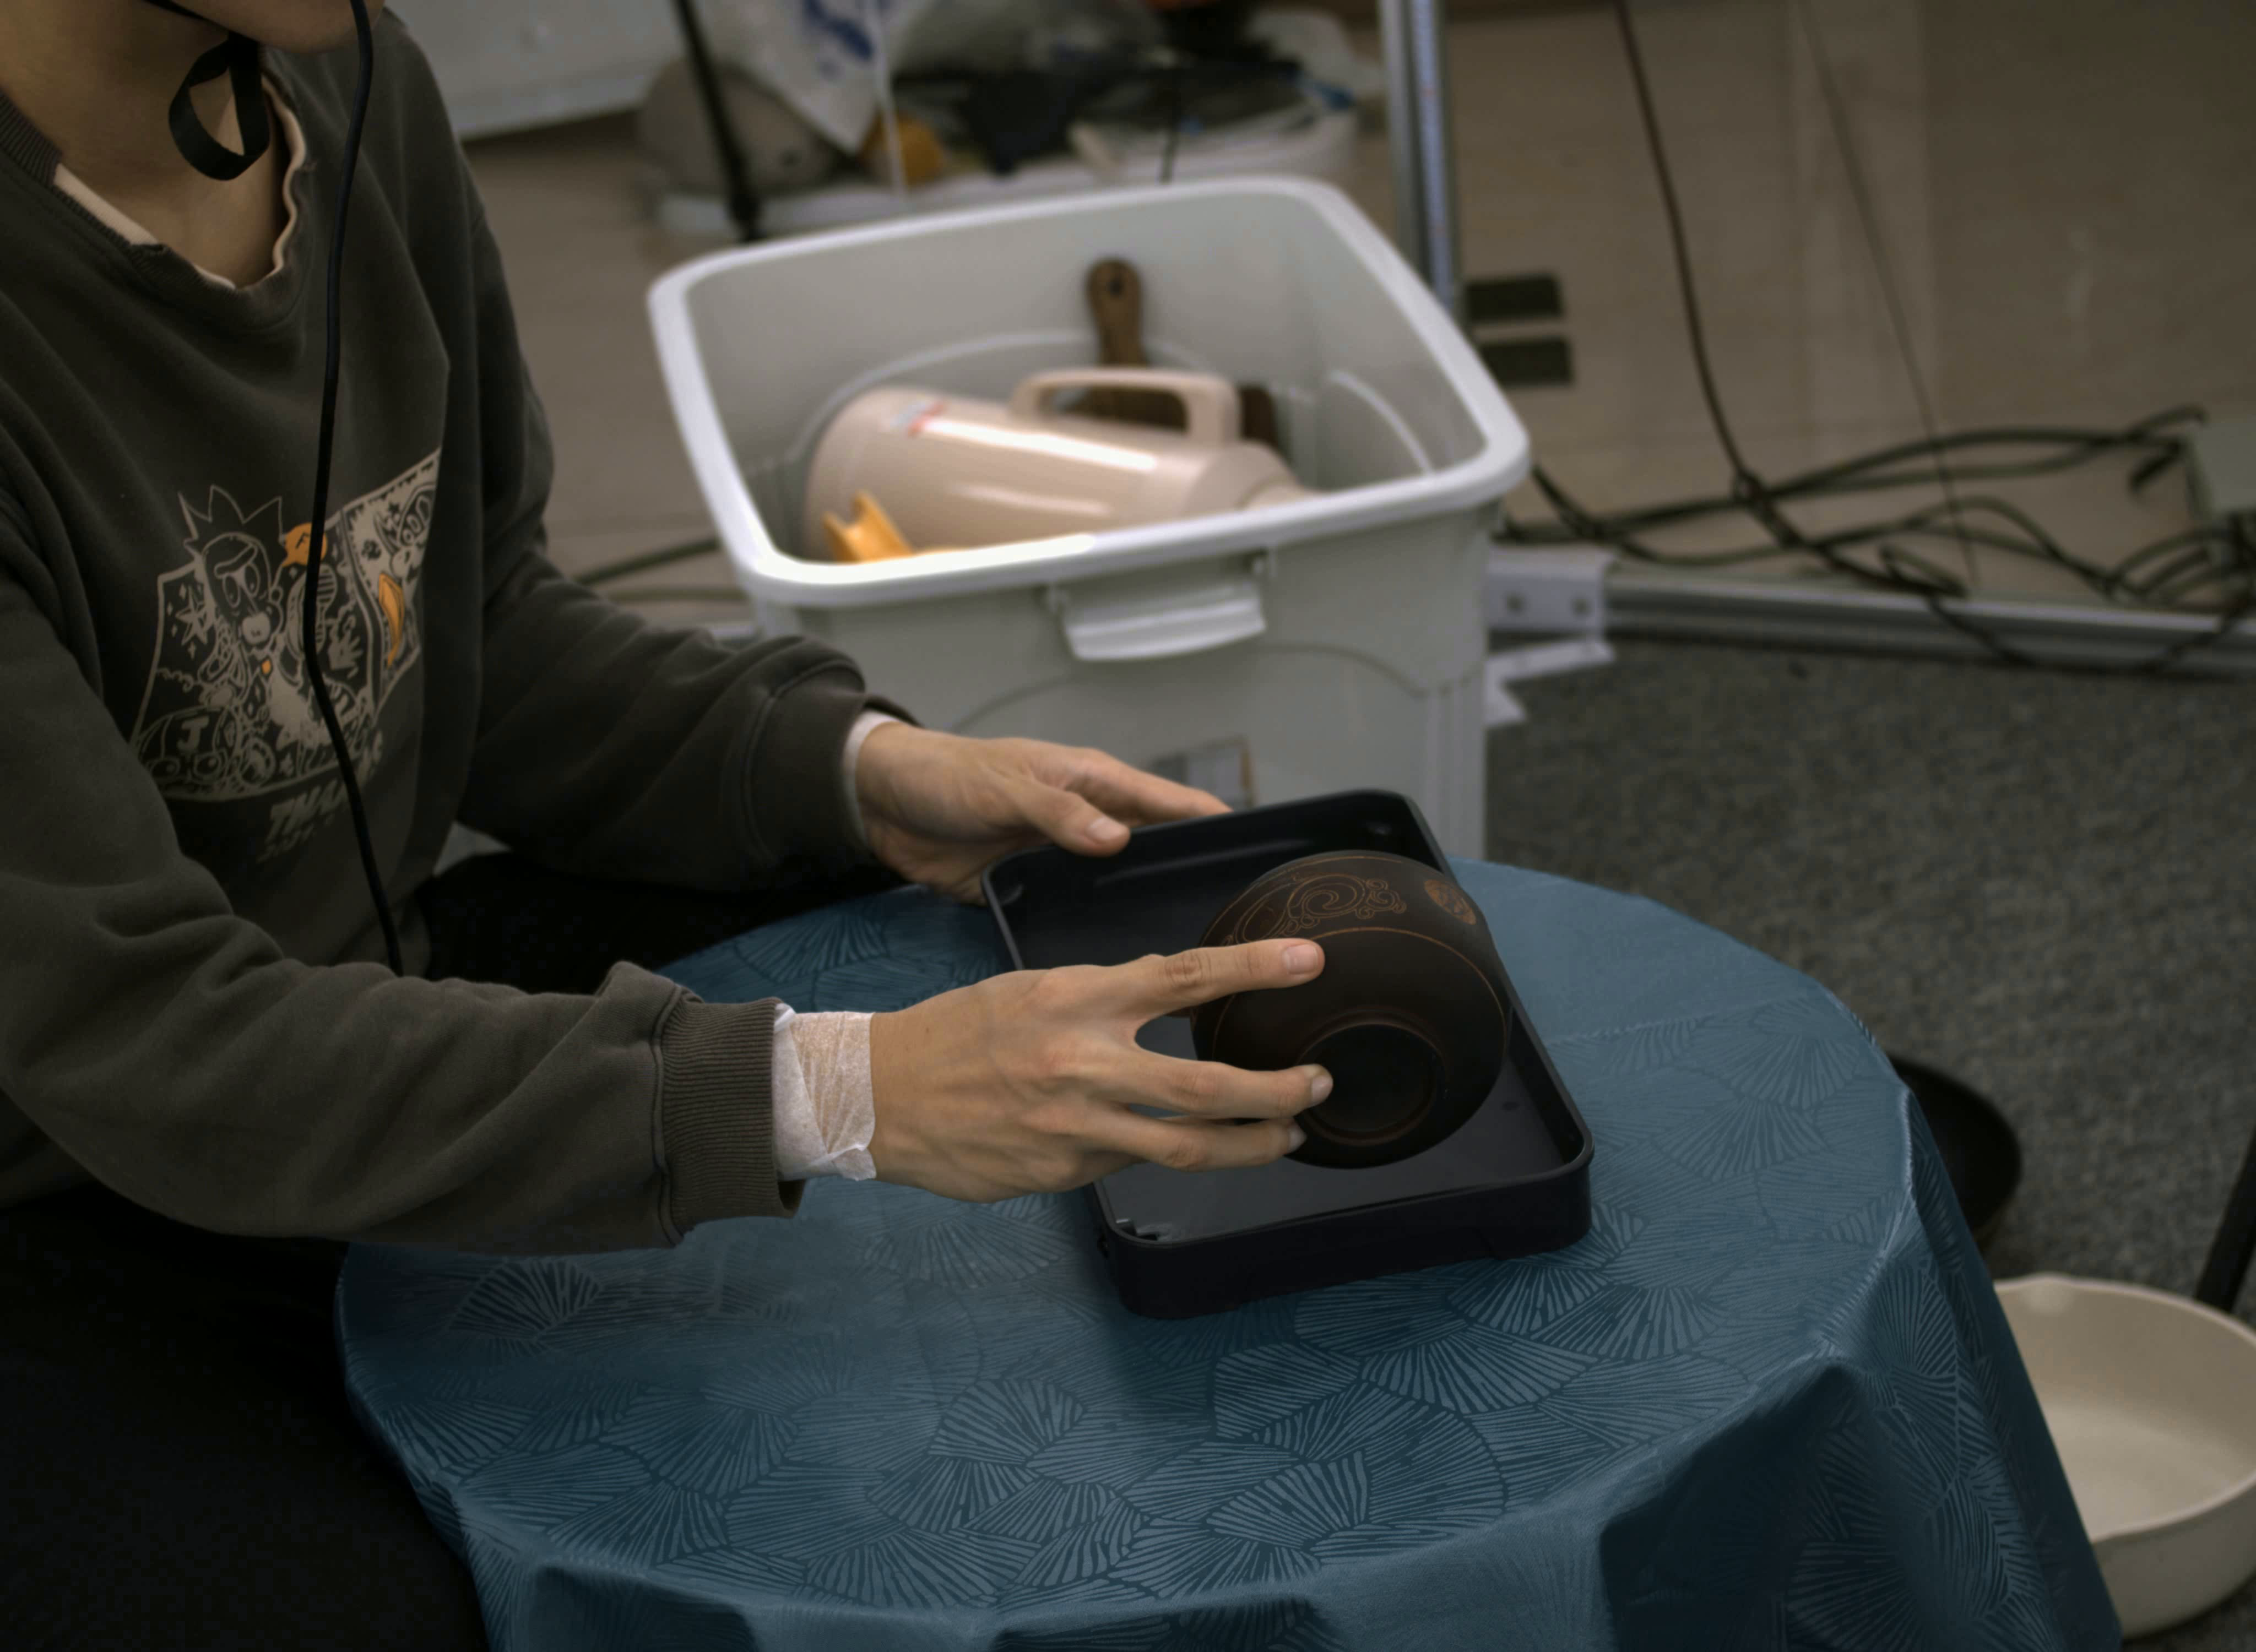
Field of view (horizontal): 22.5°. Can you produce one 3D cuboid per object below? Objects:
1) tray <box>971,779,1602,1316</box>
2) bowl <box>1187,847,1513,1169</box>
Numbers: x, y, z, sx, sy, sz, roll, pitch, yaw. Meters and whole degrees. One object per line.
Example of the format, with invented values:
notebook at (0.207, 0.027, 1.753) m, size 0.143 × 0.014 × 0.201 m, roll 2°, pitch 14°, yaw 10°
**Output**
tray at (0.056, 0.080, 2.194) m, size 0.184 × 0.037 × 0.313 m, roll -11°, pitch 29°, yaw -8°
bowl at (0.082, 0.074, 2.037) m, size 0.118 × 0.120 × 0.068 m, roll -8°, pitch 35°, yaw -3°
